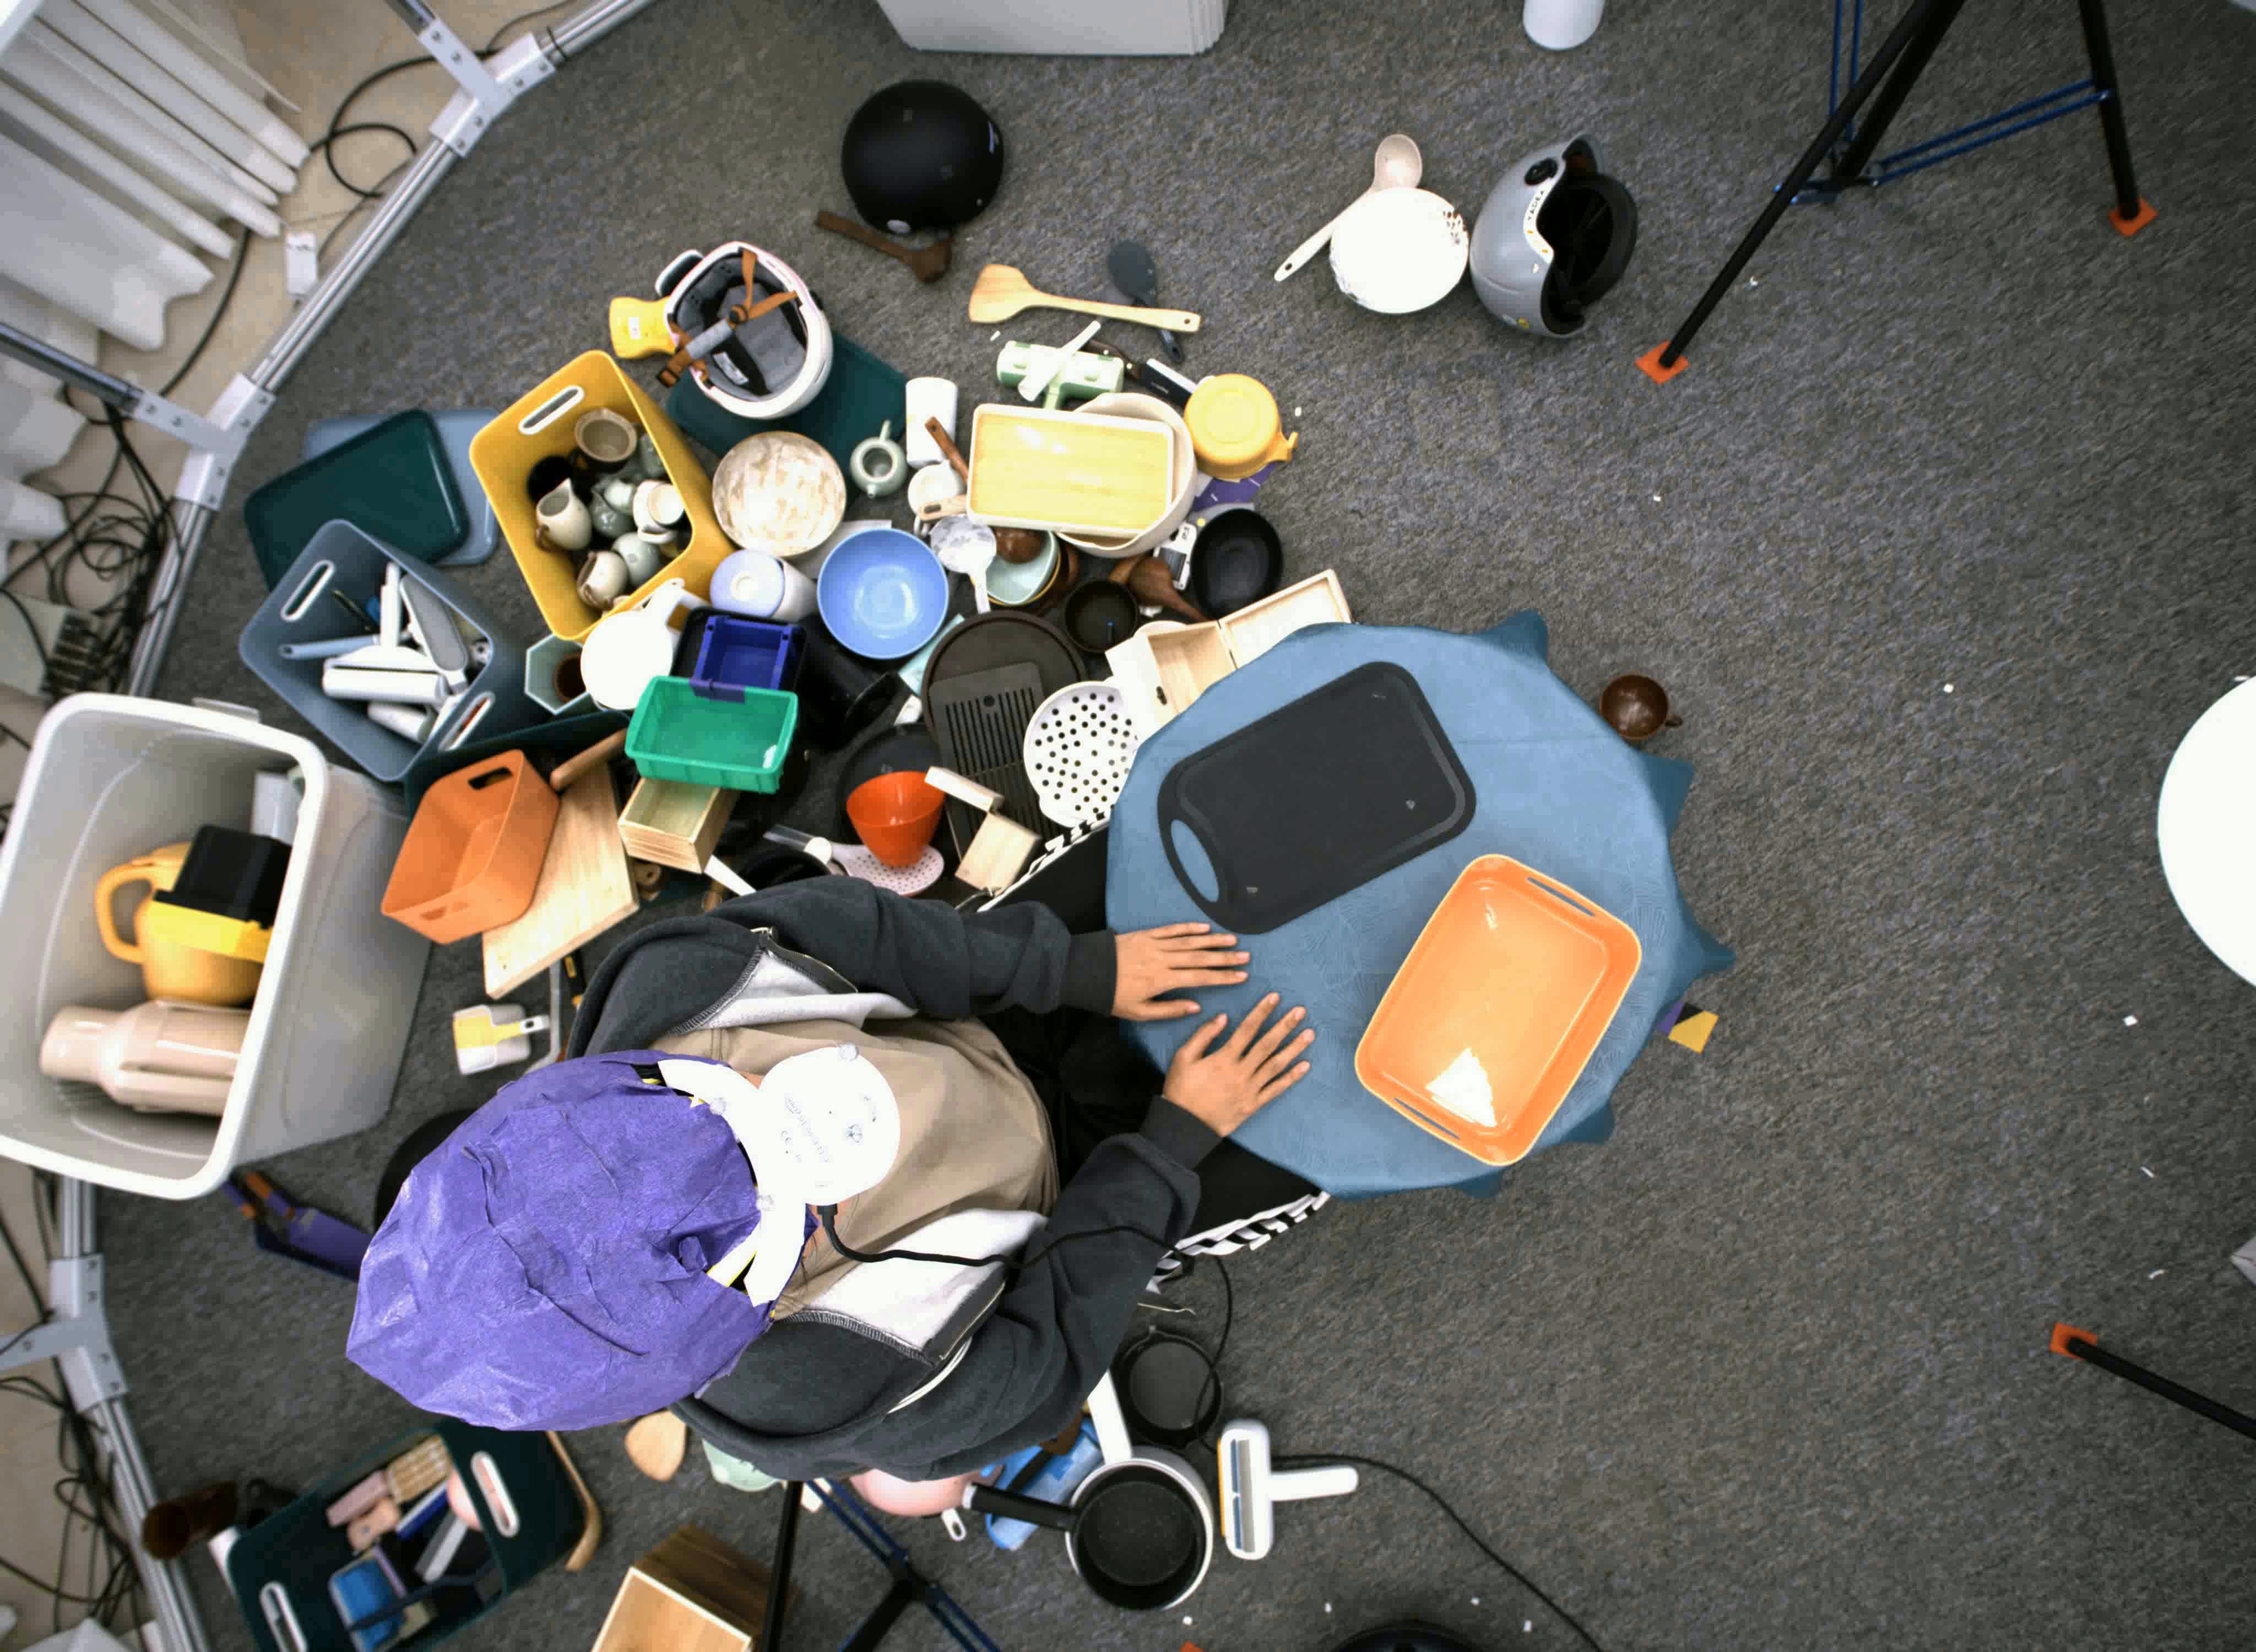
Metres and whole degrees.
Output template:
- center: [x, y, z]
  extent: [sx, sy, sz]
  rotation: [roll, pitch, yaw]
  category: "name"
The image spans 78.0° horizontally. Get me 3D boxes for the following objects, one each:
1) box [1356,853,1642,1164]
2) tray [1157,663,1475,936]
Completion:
- center: [0.364, 0.178, 1.383]
  extent: [0.199, 0.102, 0.273]
  rotation: [31, 92, 11]
  category: "box"
- center: [0.192, -0.025, 1.476]
  extent: [0.327, 0.010, 0.210]
  rotation: [-28, 82, 8]
  category: "tray"
